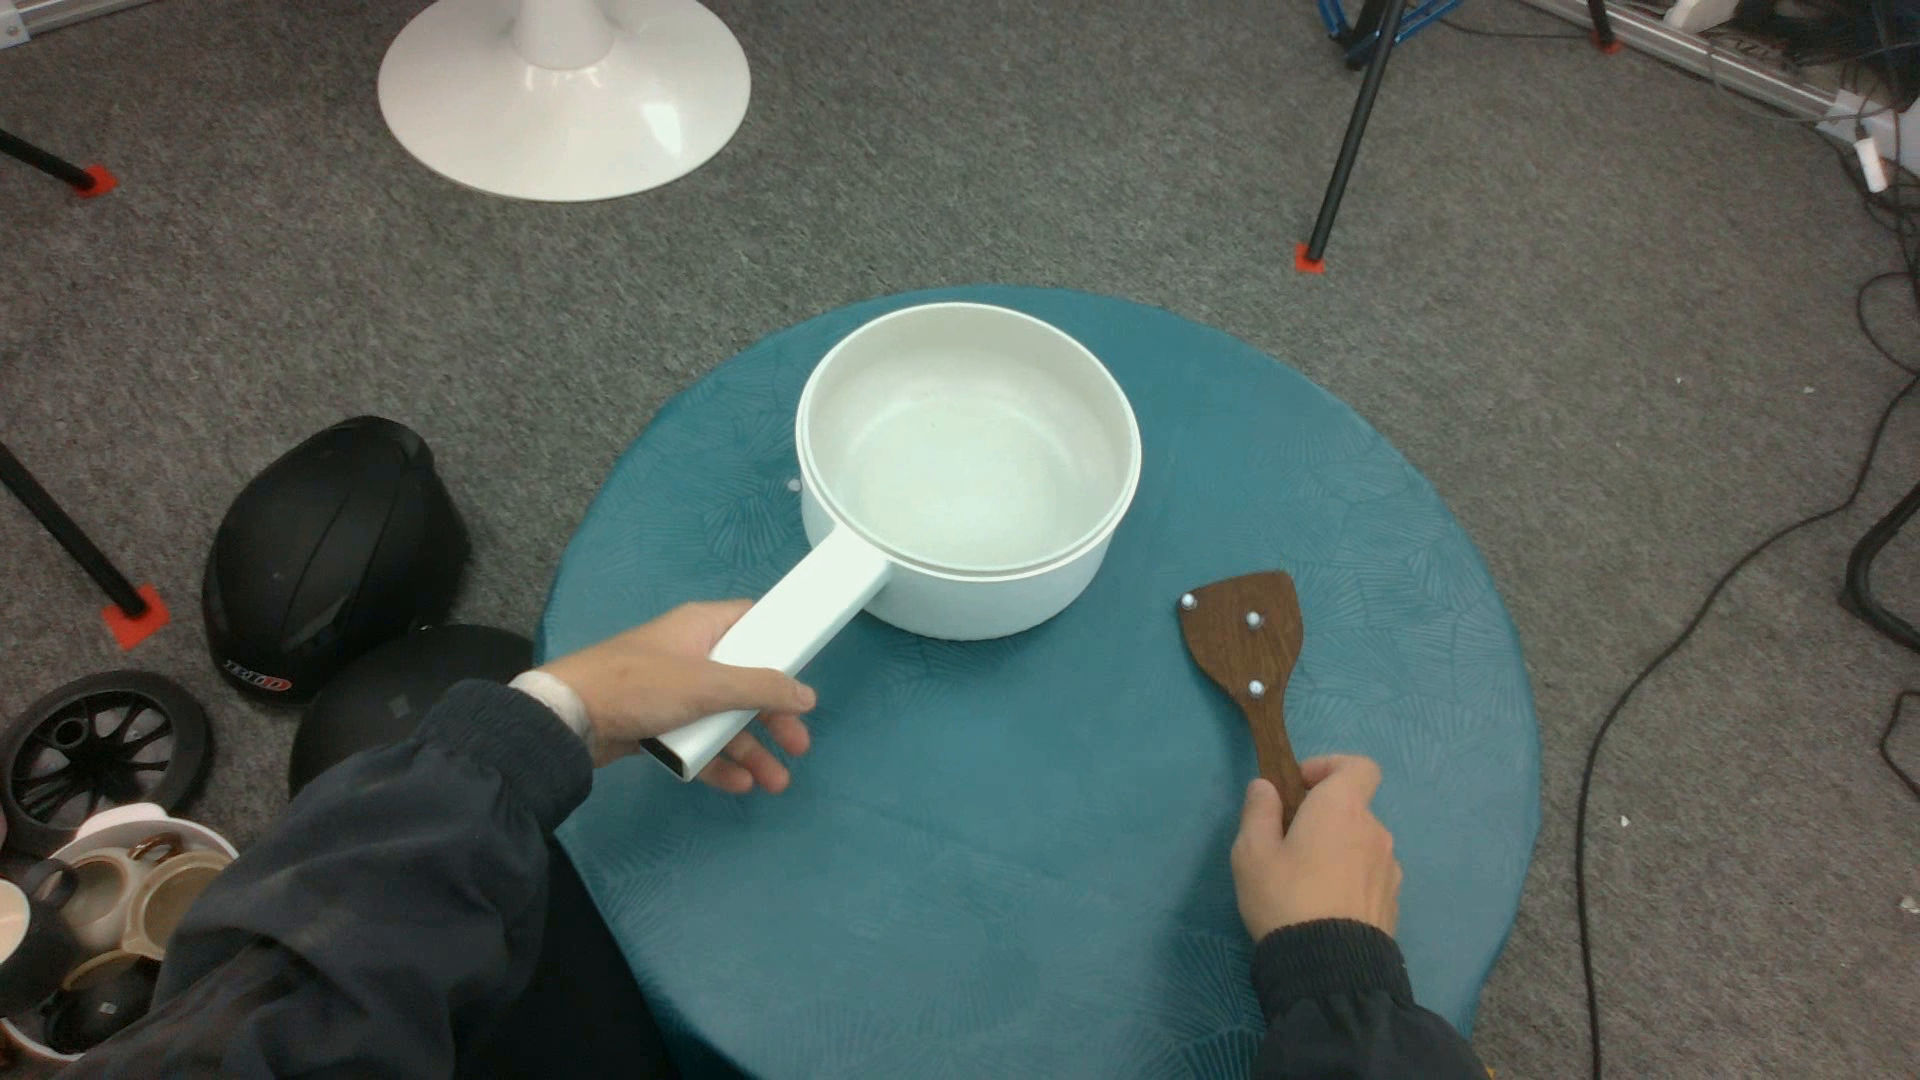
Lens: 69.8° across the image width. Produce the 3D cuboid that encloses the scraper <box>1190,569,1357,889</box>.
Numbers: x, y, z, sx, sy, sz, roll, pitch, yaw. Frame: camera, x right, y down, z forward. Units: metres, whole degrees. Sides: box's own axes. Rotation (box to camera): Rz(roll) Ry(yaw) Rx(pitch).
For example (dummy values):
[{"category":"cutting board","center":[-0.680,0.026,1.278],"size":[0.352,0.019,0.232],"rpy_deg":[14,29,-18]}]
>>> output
[{"category":"scraper","center":[0.189,0.105,0.800],"size":[0.076,0.011,0.212],"rpy_deg":[-15,48,9]}]

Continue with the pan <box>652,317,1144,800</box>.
[{"category":"pan","center":[-0.039,0.020,0.807],"size":[0.201,0.101,0.356],"rpy_deg":[32,60,16]}]
